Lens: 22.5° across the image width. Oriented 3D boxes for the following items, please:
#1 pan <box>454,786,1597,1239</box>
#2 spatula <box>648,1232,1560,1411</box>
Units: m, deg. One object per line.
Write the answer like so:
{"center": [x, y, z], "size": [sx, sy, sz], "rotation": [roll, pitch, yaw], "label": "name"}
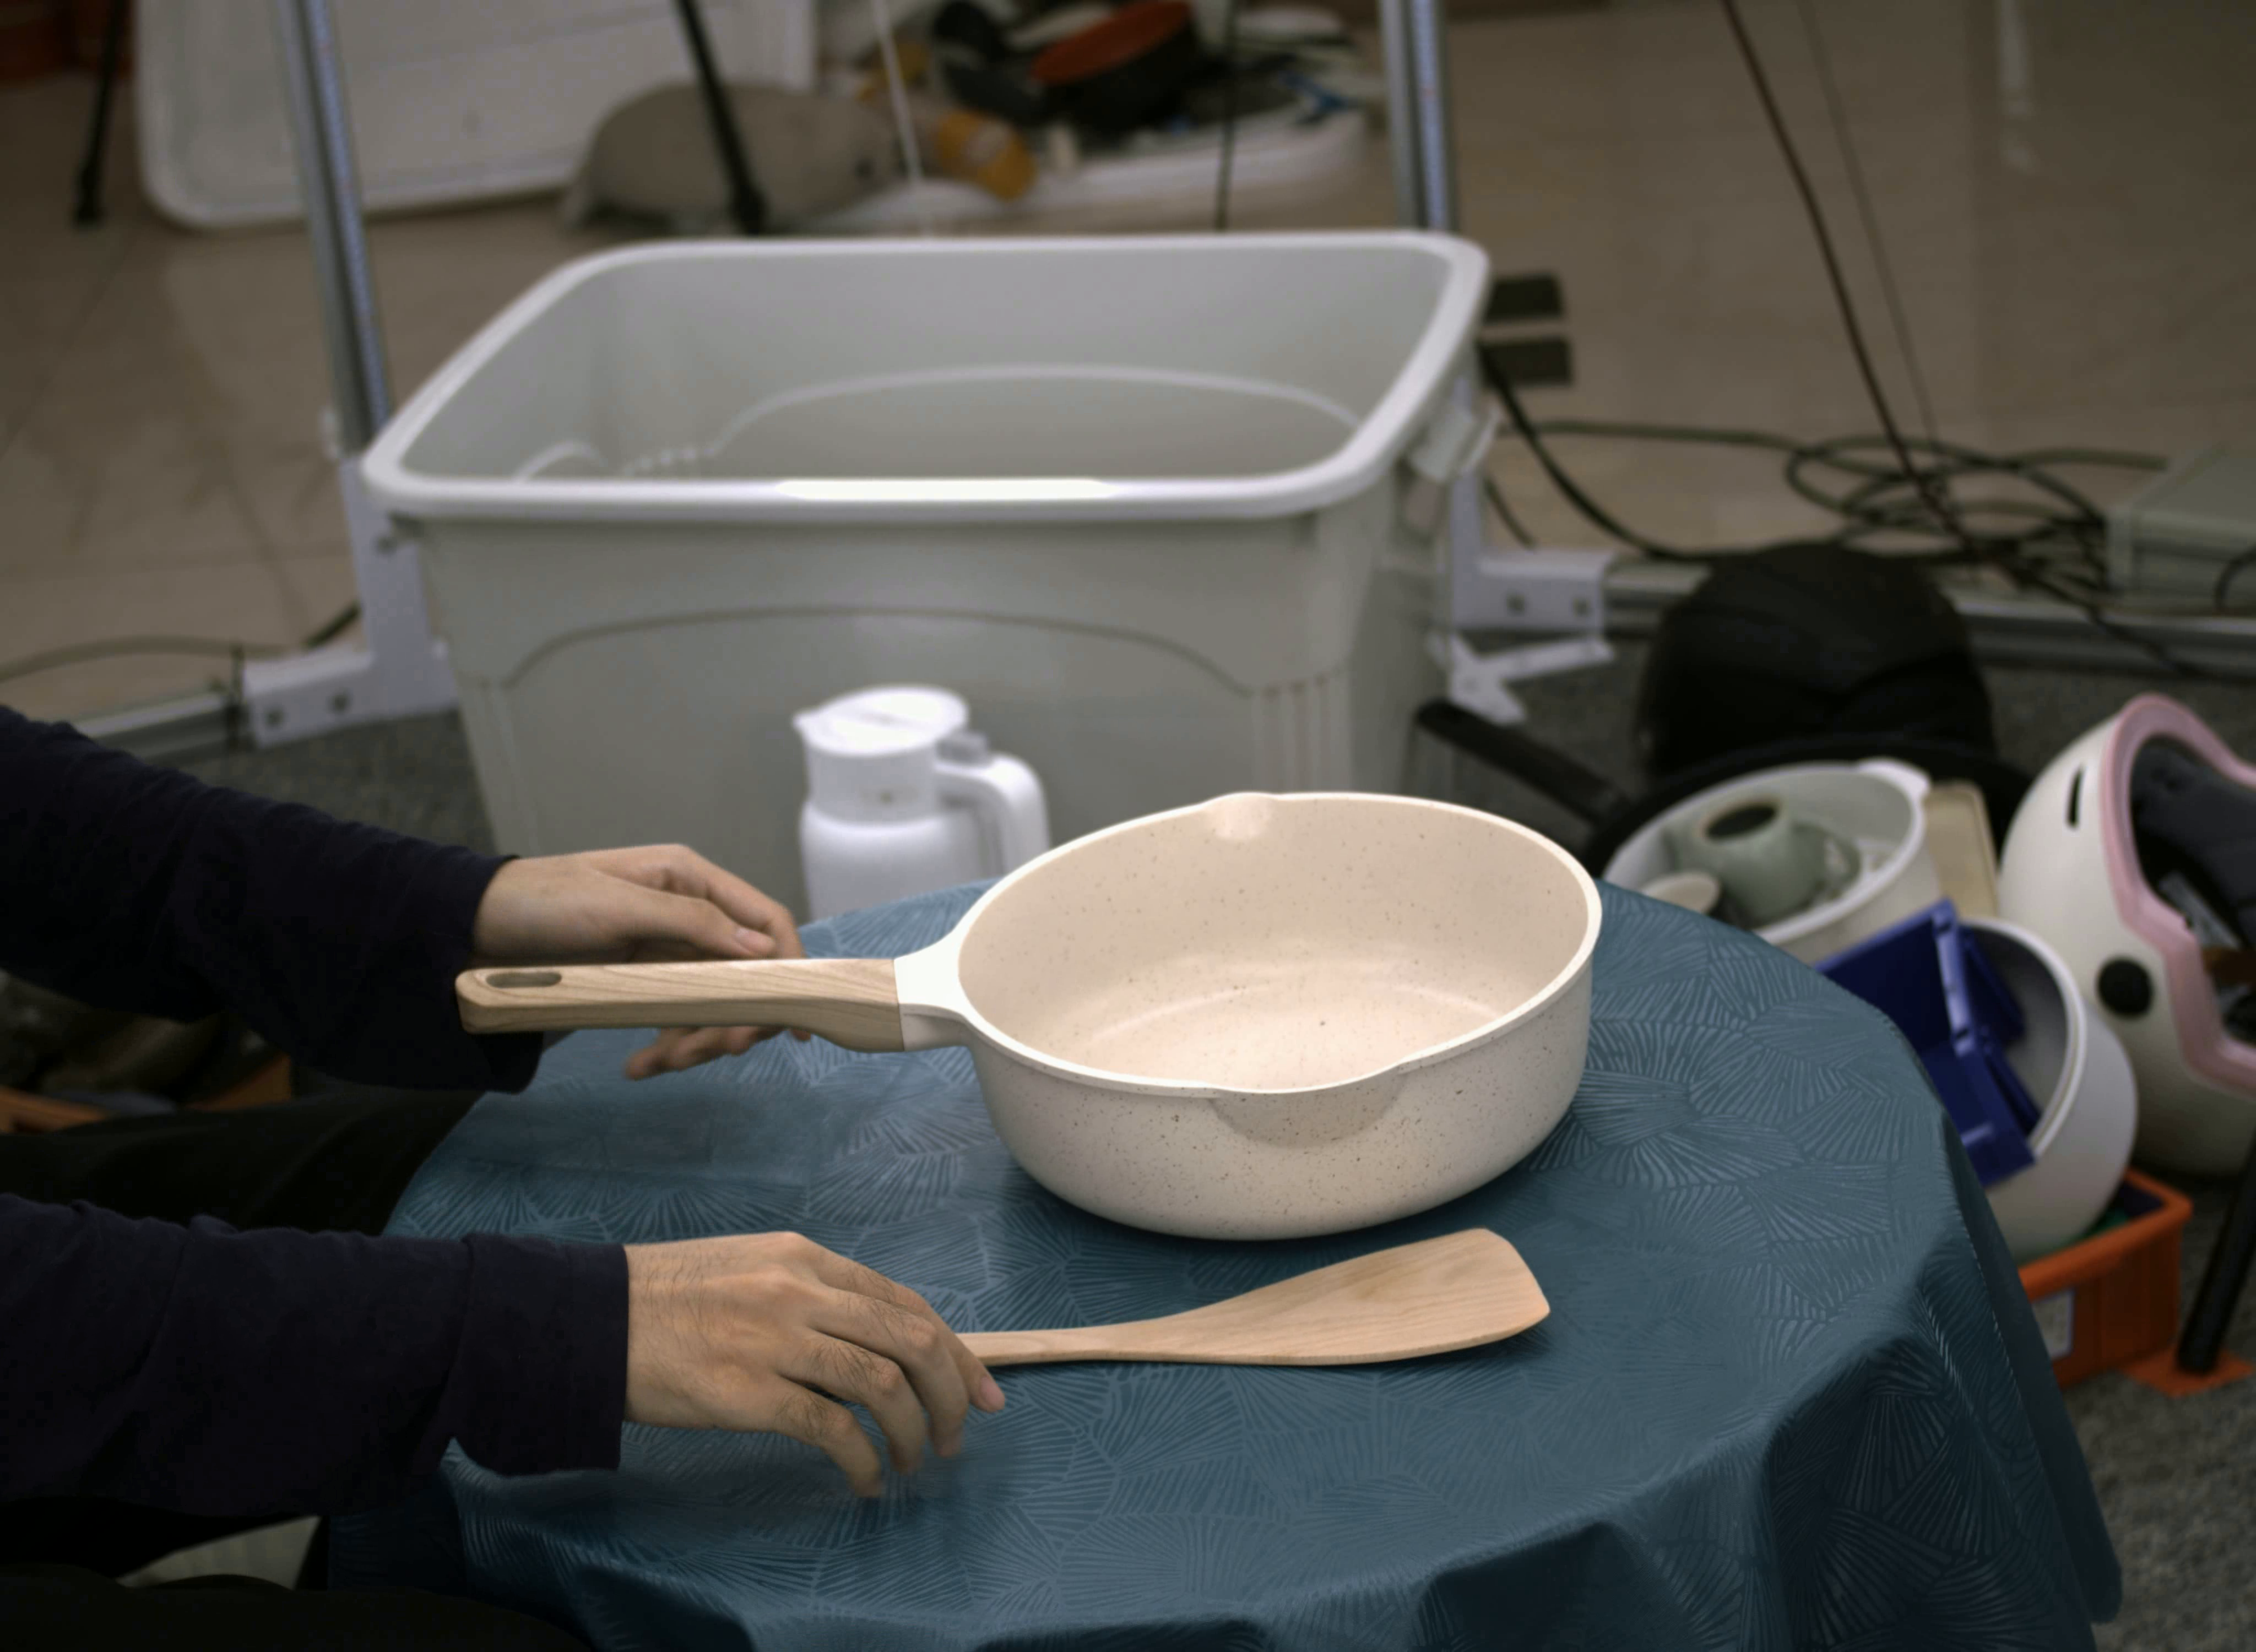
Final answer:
{"center": [-0.034, 0.082, 2.166], "size": [0.434, 0.103, 0.259], "rotation": [-8, 26, -3], "label": "pan"}
{"center": [-0.010, 0.183, 2.041], "size": [0.327, 0.017, 0.079], "rotation": [-6, 25, -1], "label": "spatula"}
